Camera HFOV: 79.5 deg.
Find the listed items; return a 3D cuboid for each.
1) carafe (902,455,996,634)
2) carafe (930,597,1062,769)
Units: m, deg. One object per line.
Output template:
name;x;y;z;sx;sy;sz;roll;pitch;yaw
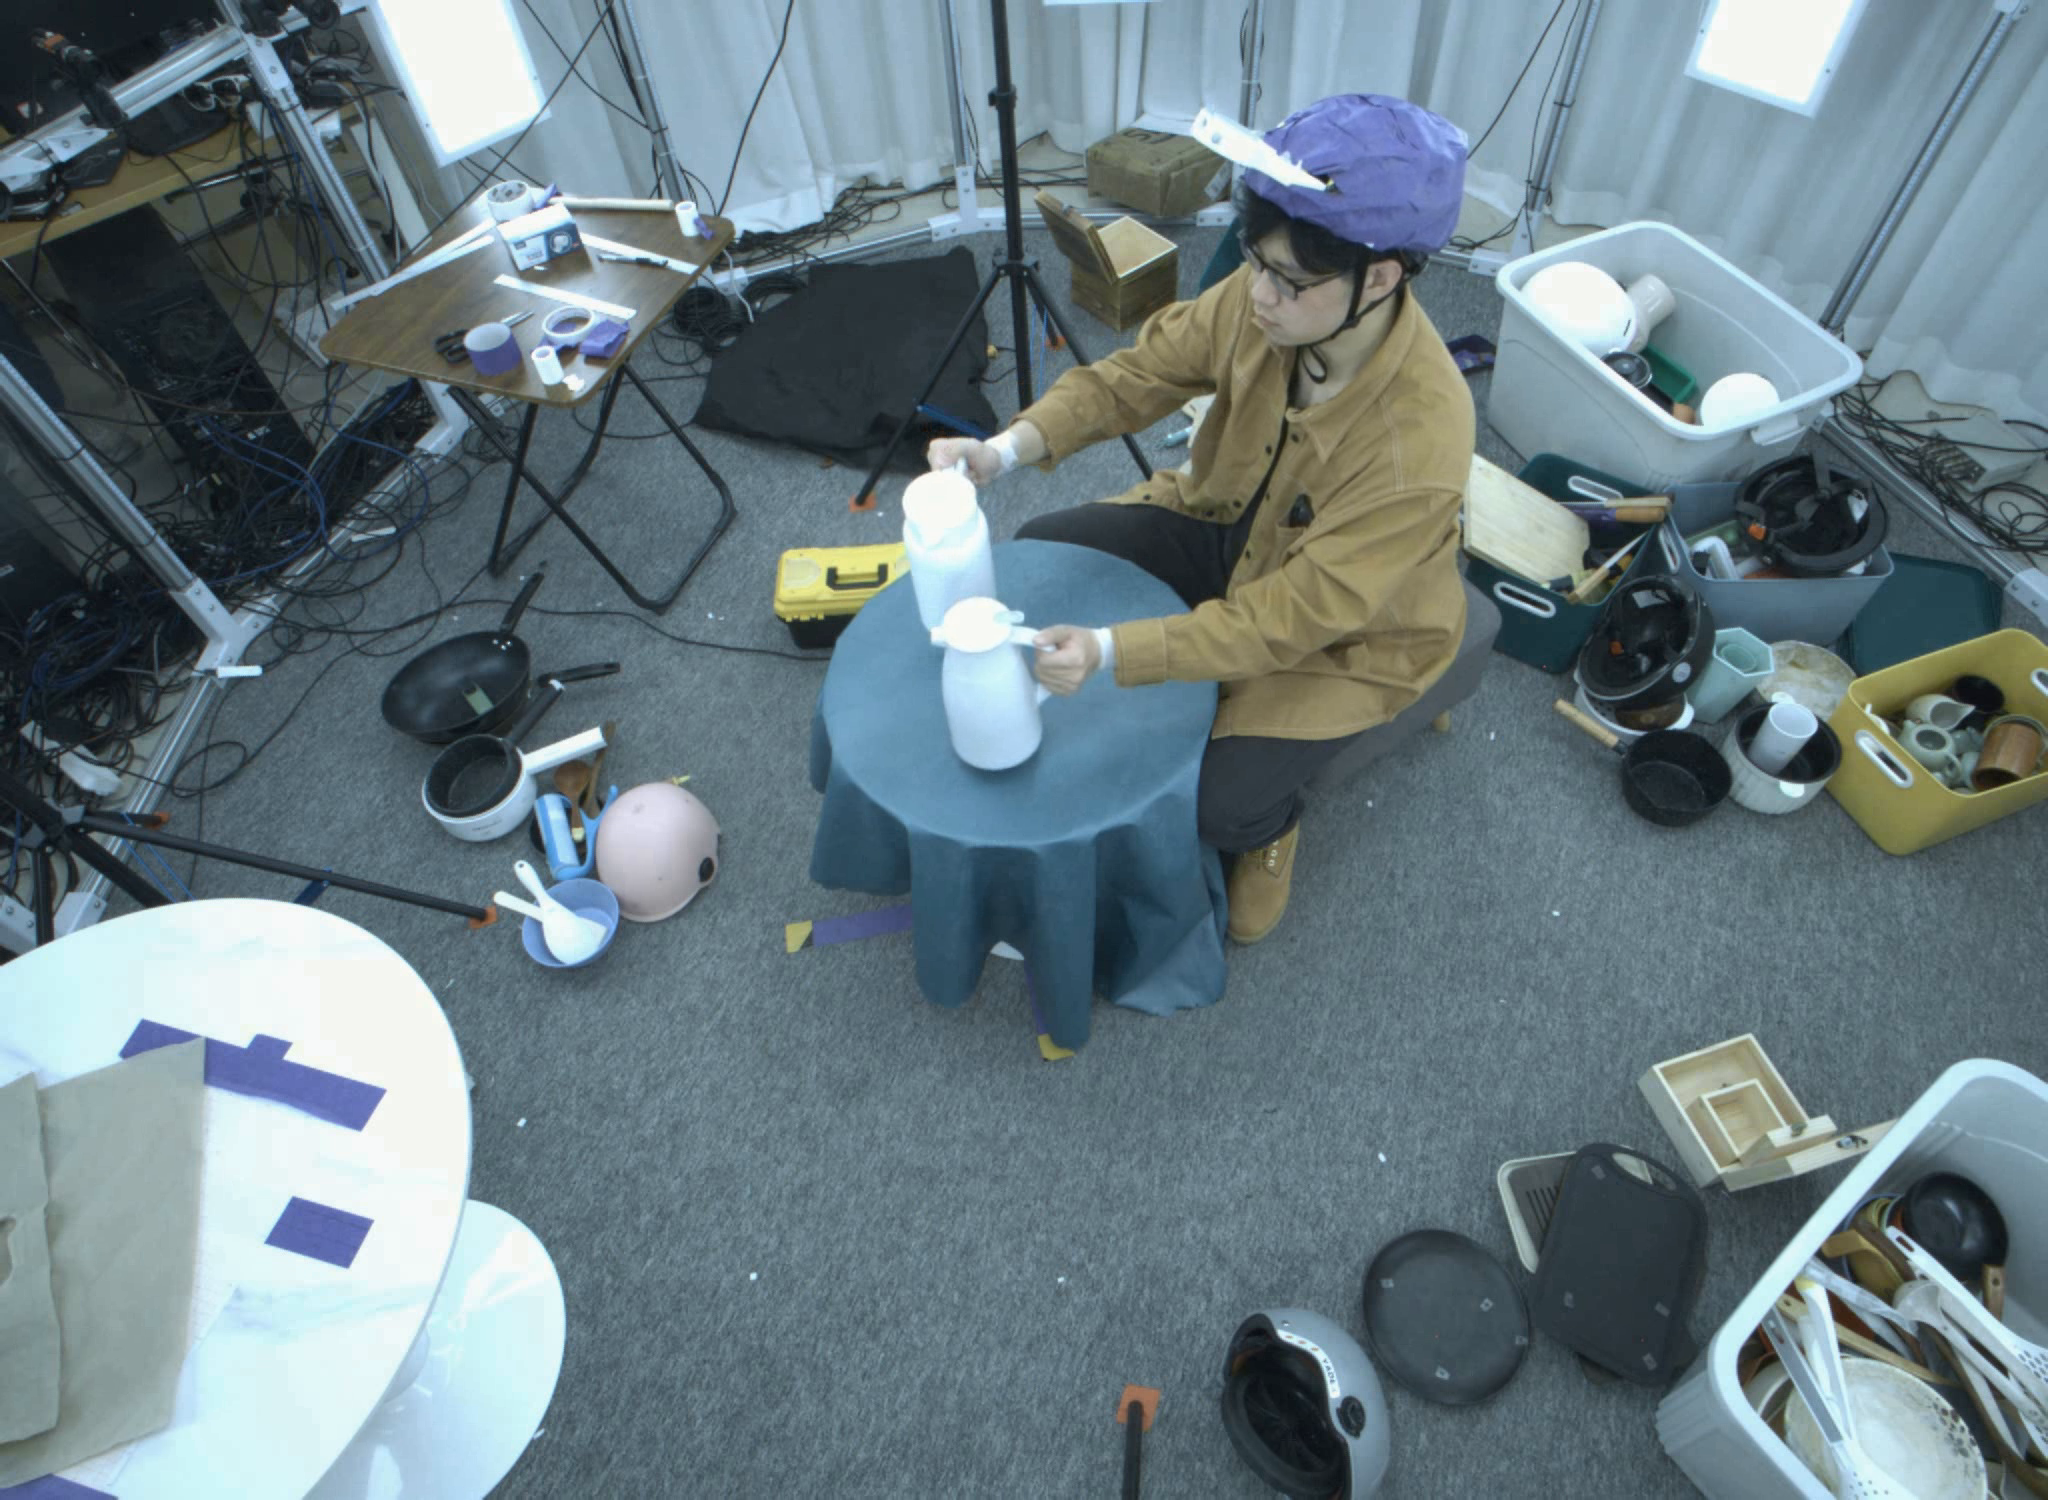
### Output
carafe;-0.105;-0.287;1.732;0.123;0.272;0.172;5;63;8
carafe;-0.032;-0.098;1.663;0.168;0.251;0.131;-4;56;1
